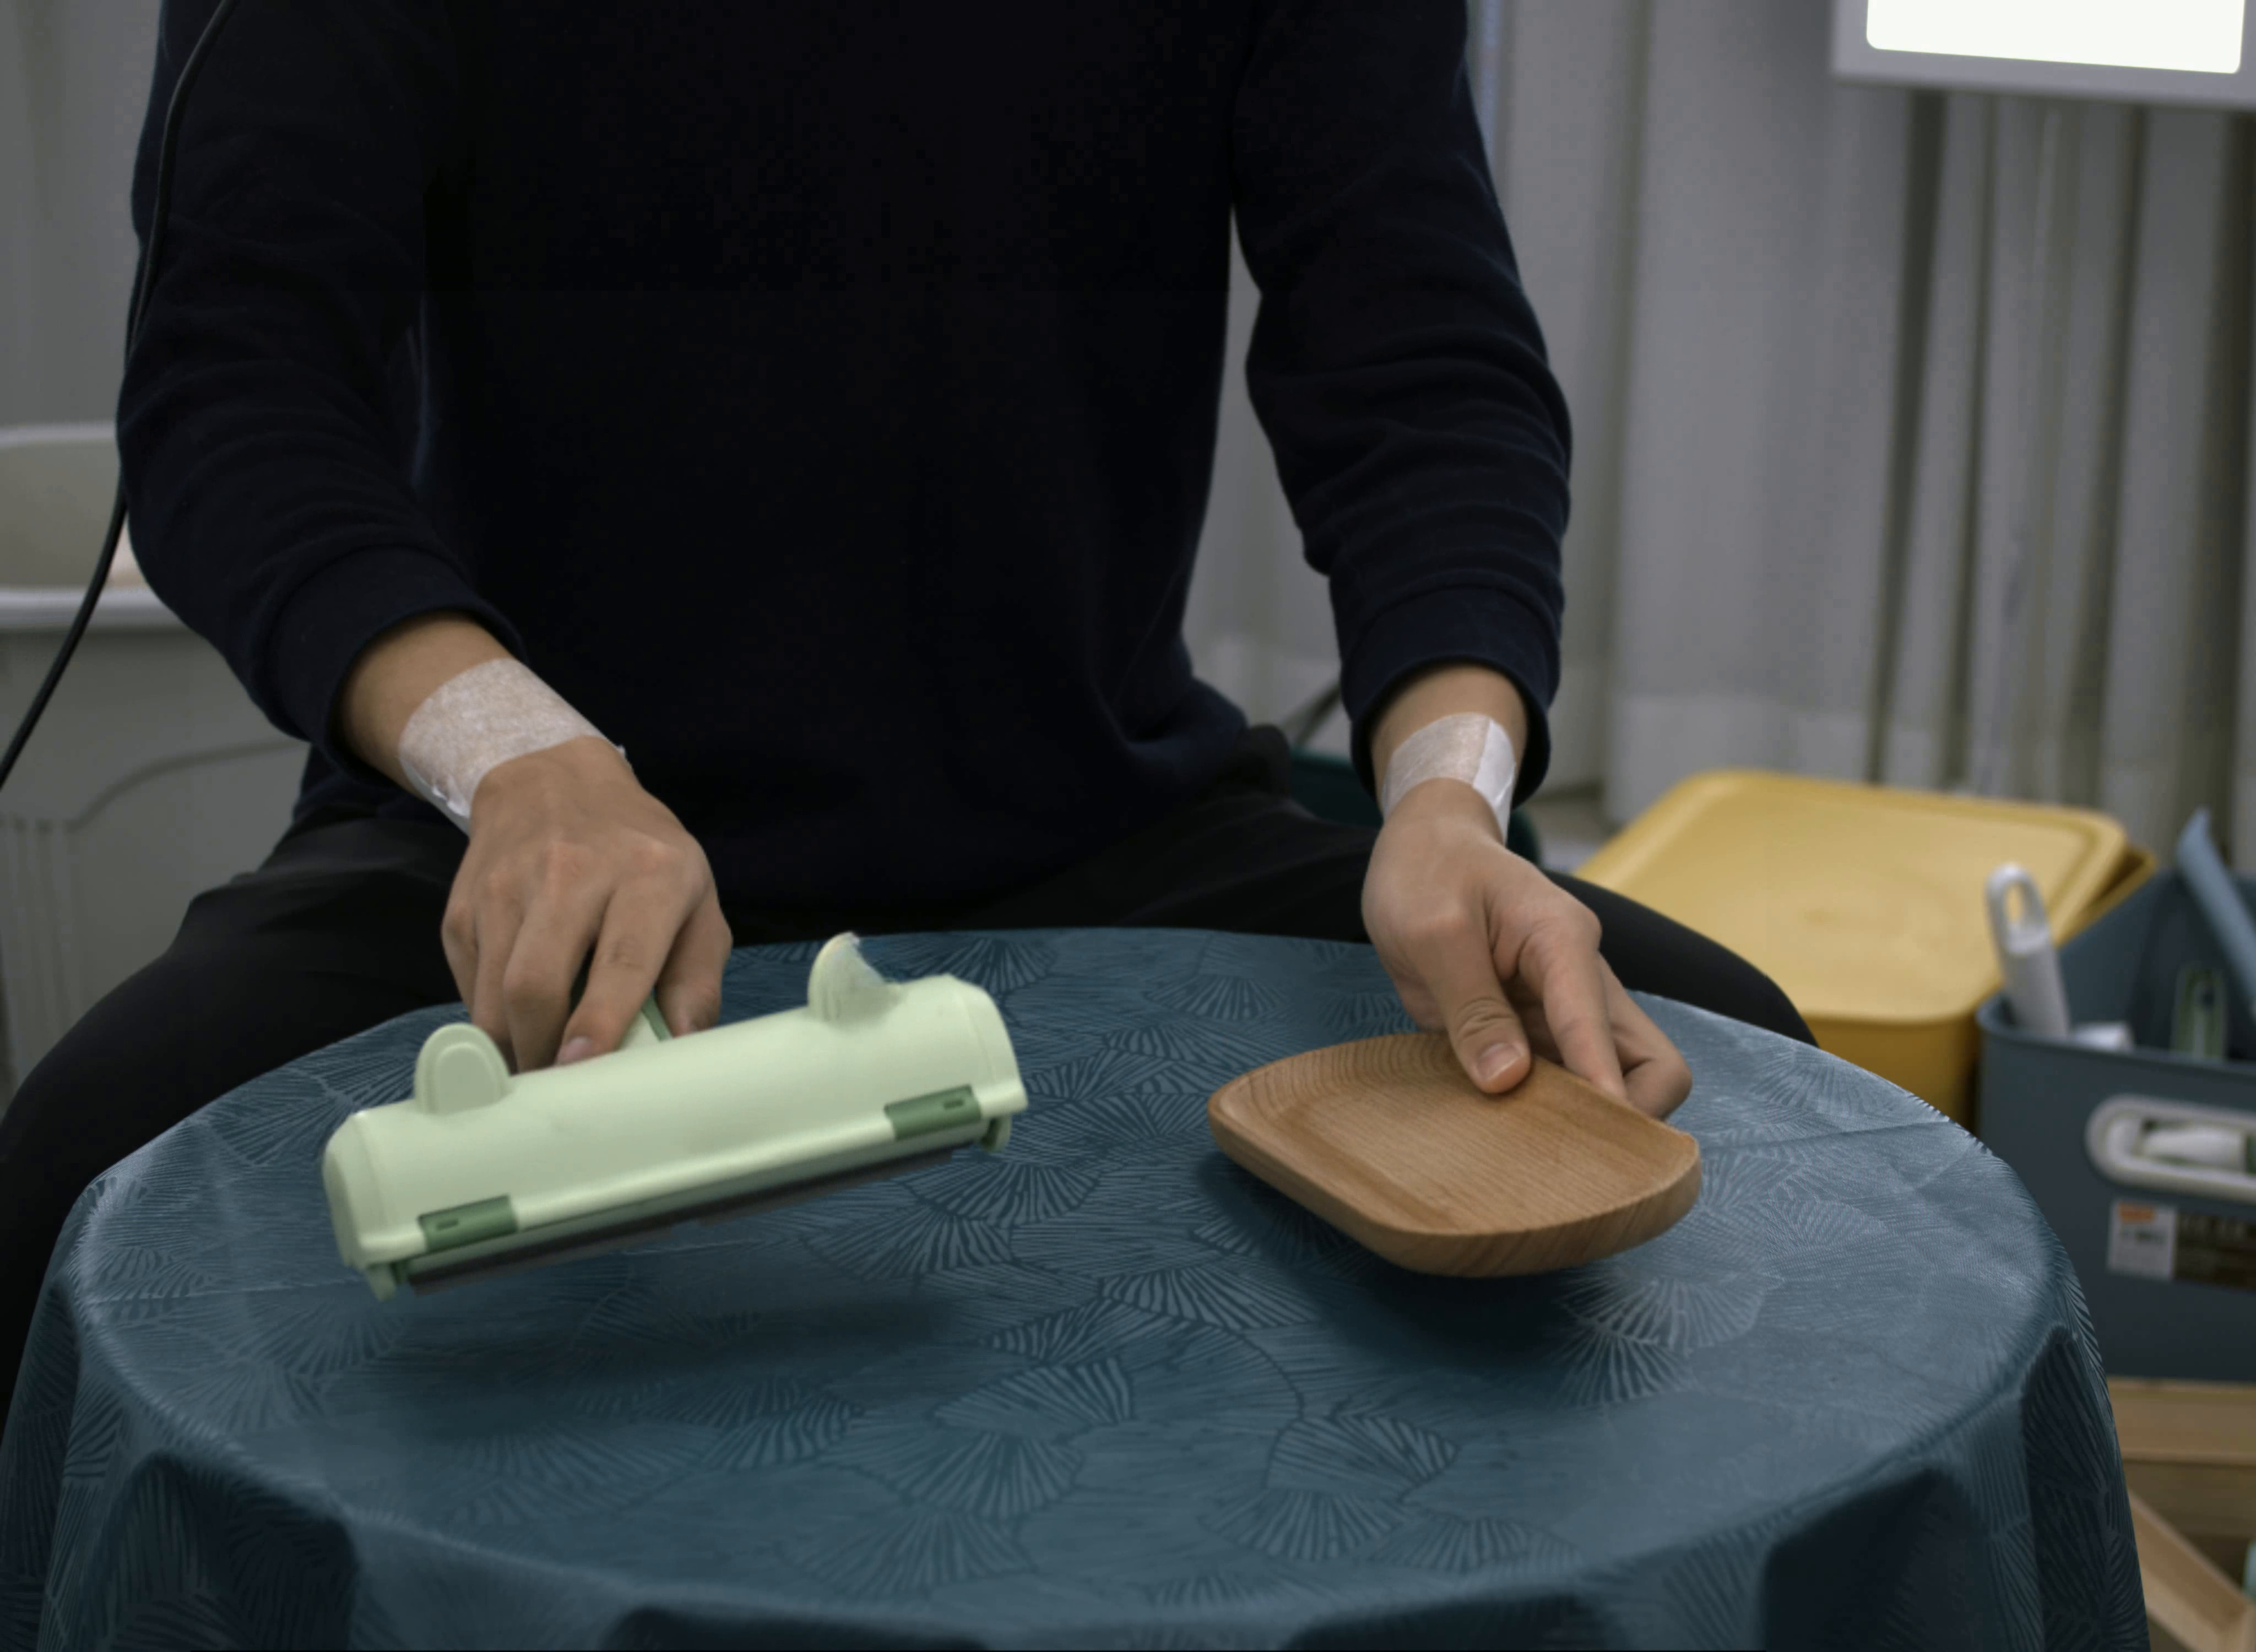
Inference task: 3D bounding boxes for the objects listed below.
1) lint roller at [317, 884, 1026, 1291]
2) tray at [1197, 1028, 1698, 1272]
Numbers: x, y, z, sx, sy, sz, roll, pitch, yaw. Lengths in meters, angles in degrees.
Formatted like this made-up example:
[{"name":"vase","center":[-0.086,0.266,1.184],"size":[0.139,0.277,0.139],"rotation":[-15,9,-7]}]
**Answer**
[{"name":"lint roller","center":[-0.149,0.048,1.525],"size":[0.199,0.083,0.181],"rotation":[-13,39,-18]},{"name":"tray","center":[0.093,0.095,1.579],"size":[0.102,0.020,0.229],"rotation":[-13,12,-17]}]
